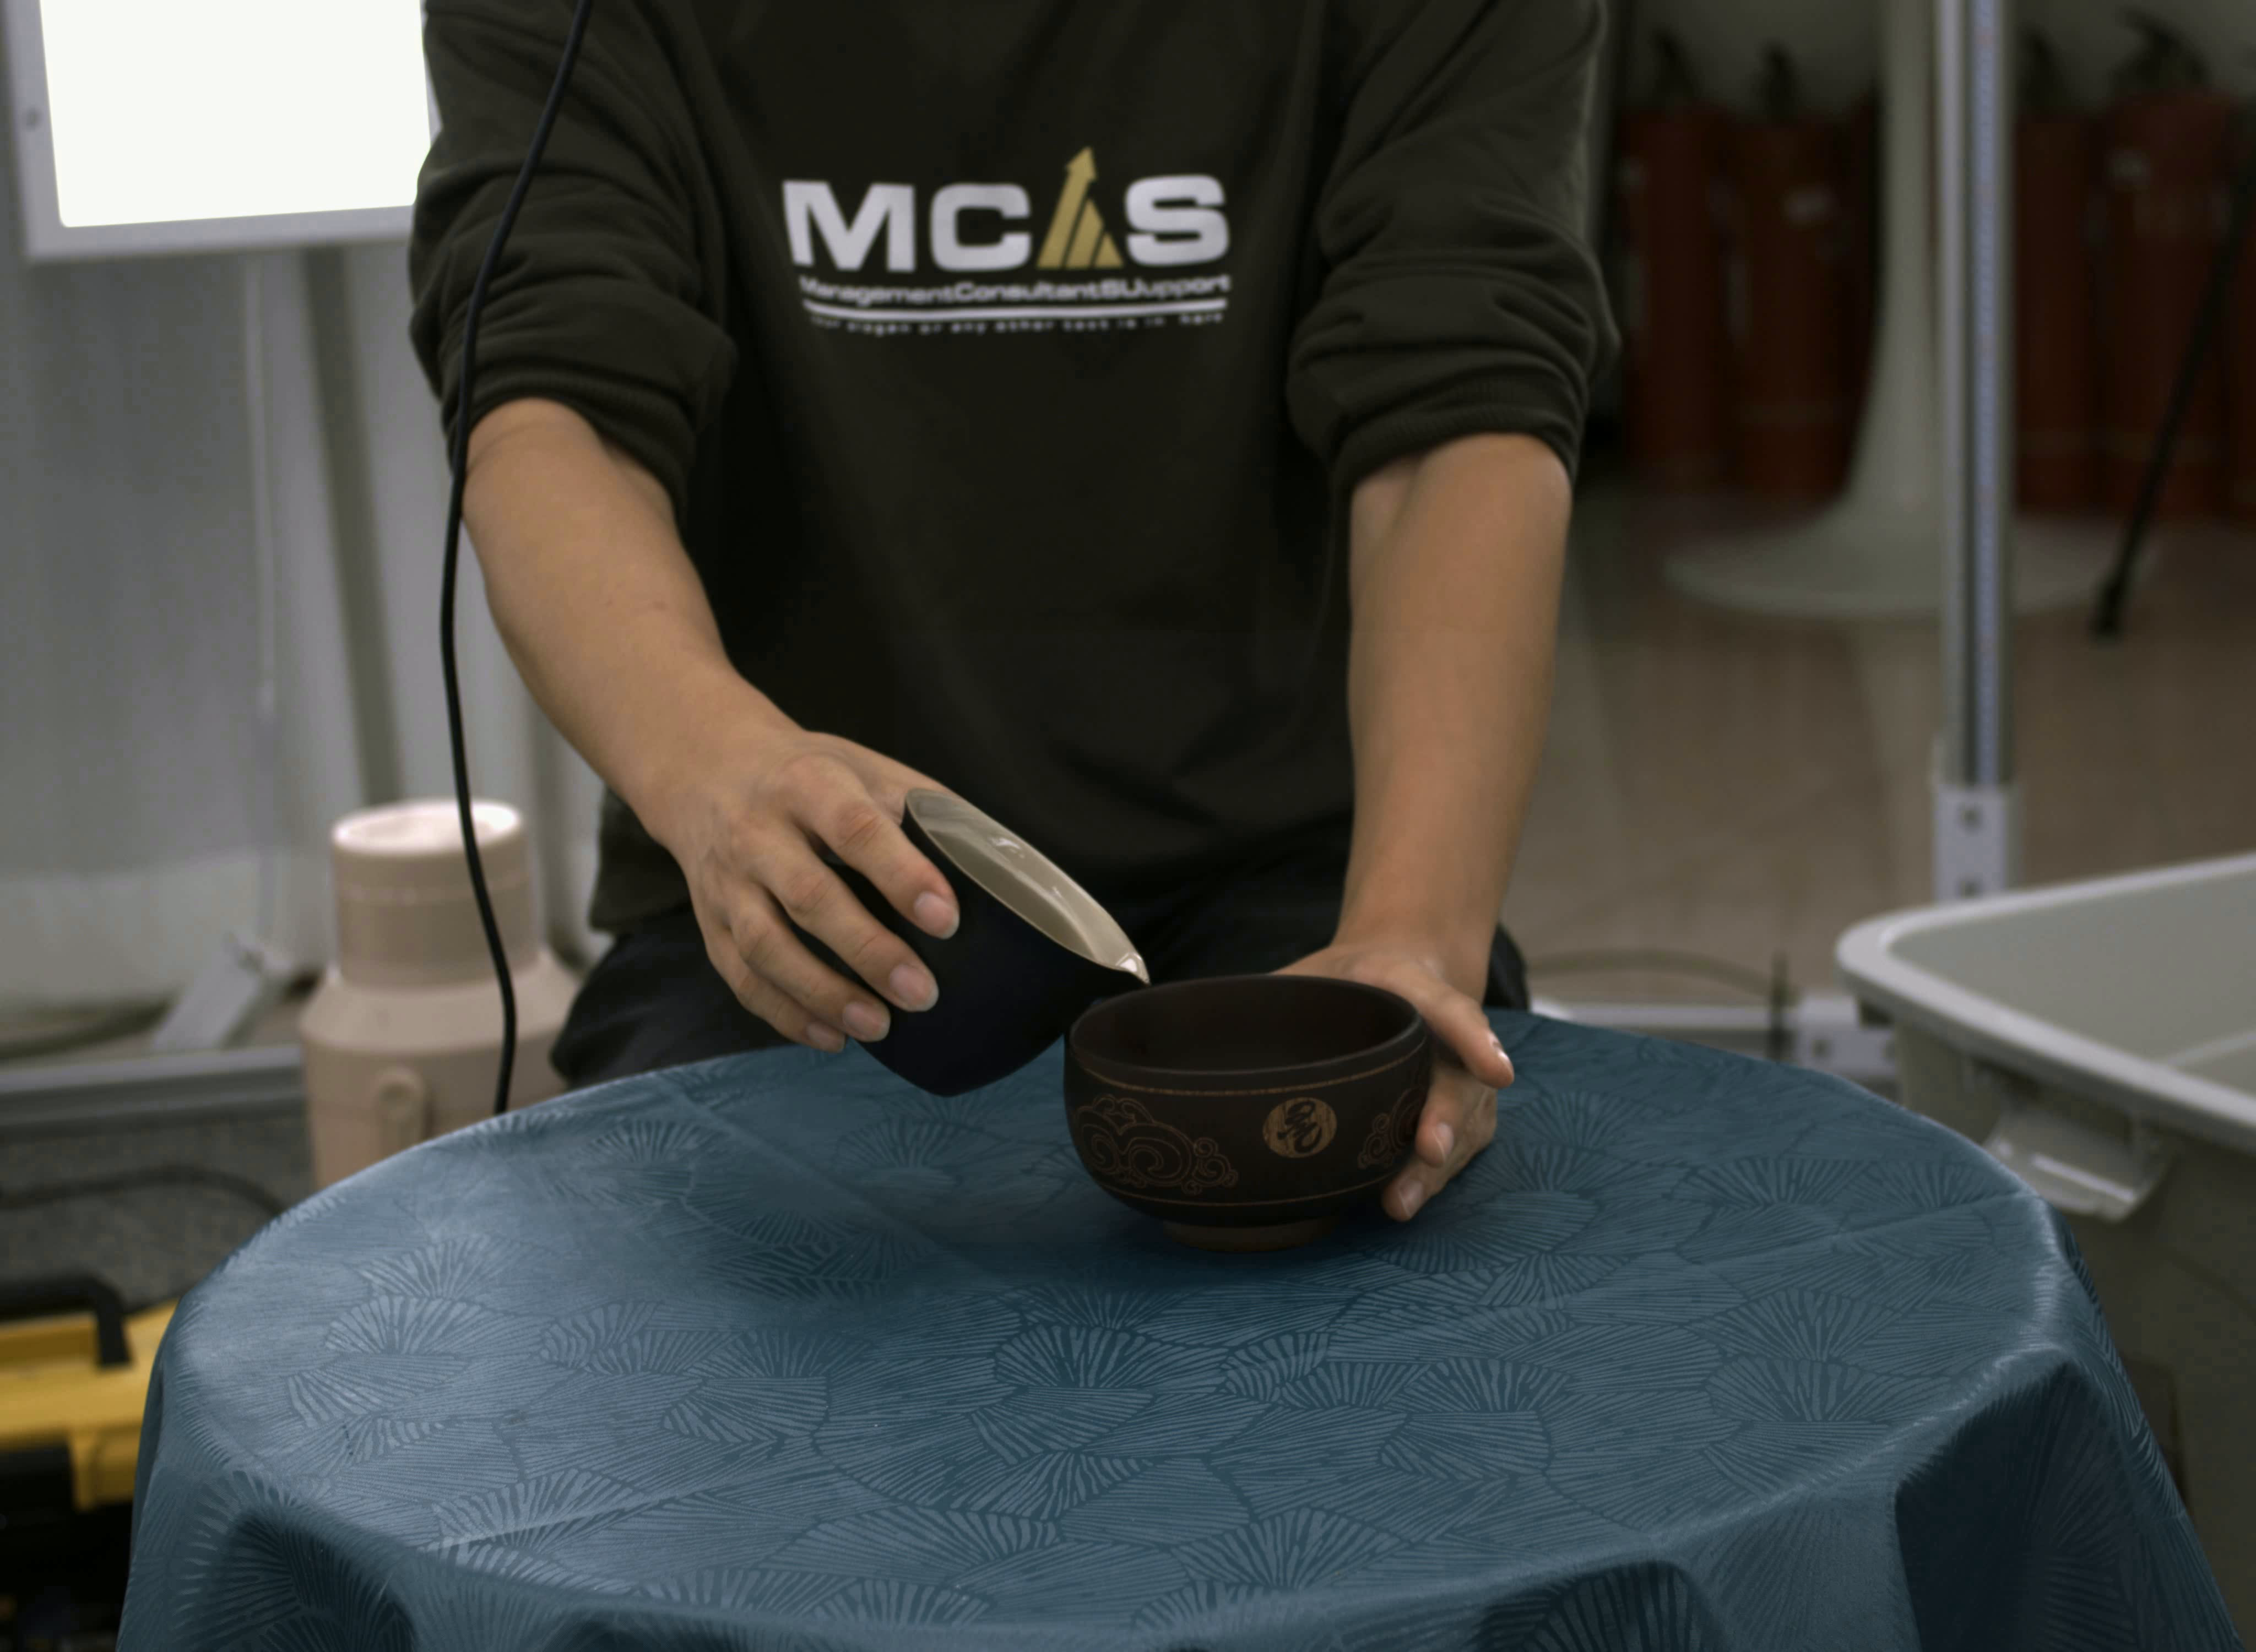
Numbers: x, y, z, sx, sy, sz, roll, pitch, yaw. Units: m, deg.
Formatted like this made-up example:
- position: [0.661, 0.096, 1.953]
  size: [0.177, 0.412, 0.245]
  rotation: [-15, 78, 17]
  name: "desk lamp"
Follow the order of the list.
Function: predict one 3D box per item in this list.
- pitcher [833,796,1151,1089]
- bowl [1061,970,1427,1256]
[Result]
- position: [-0.050, 0.043, 1.719]
  size: [0.096, 0.072, 0.083]
  rotation: [39, 8, 5]
  name: "pitcher"
- position: [0.038, 0.095, 1.724]
  size: [0.116, 0.070, 0.118]
  rotation: [-5, 15, 0]
  name: "bowl"
